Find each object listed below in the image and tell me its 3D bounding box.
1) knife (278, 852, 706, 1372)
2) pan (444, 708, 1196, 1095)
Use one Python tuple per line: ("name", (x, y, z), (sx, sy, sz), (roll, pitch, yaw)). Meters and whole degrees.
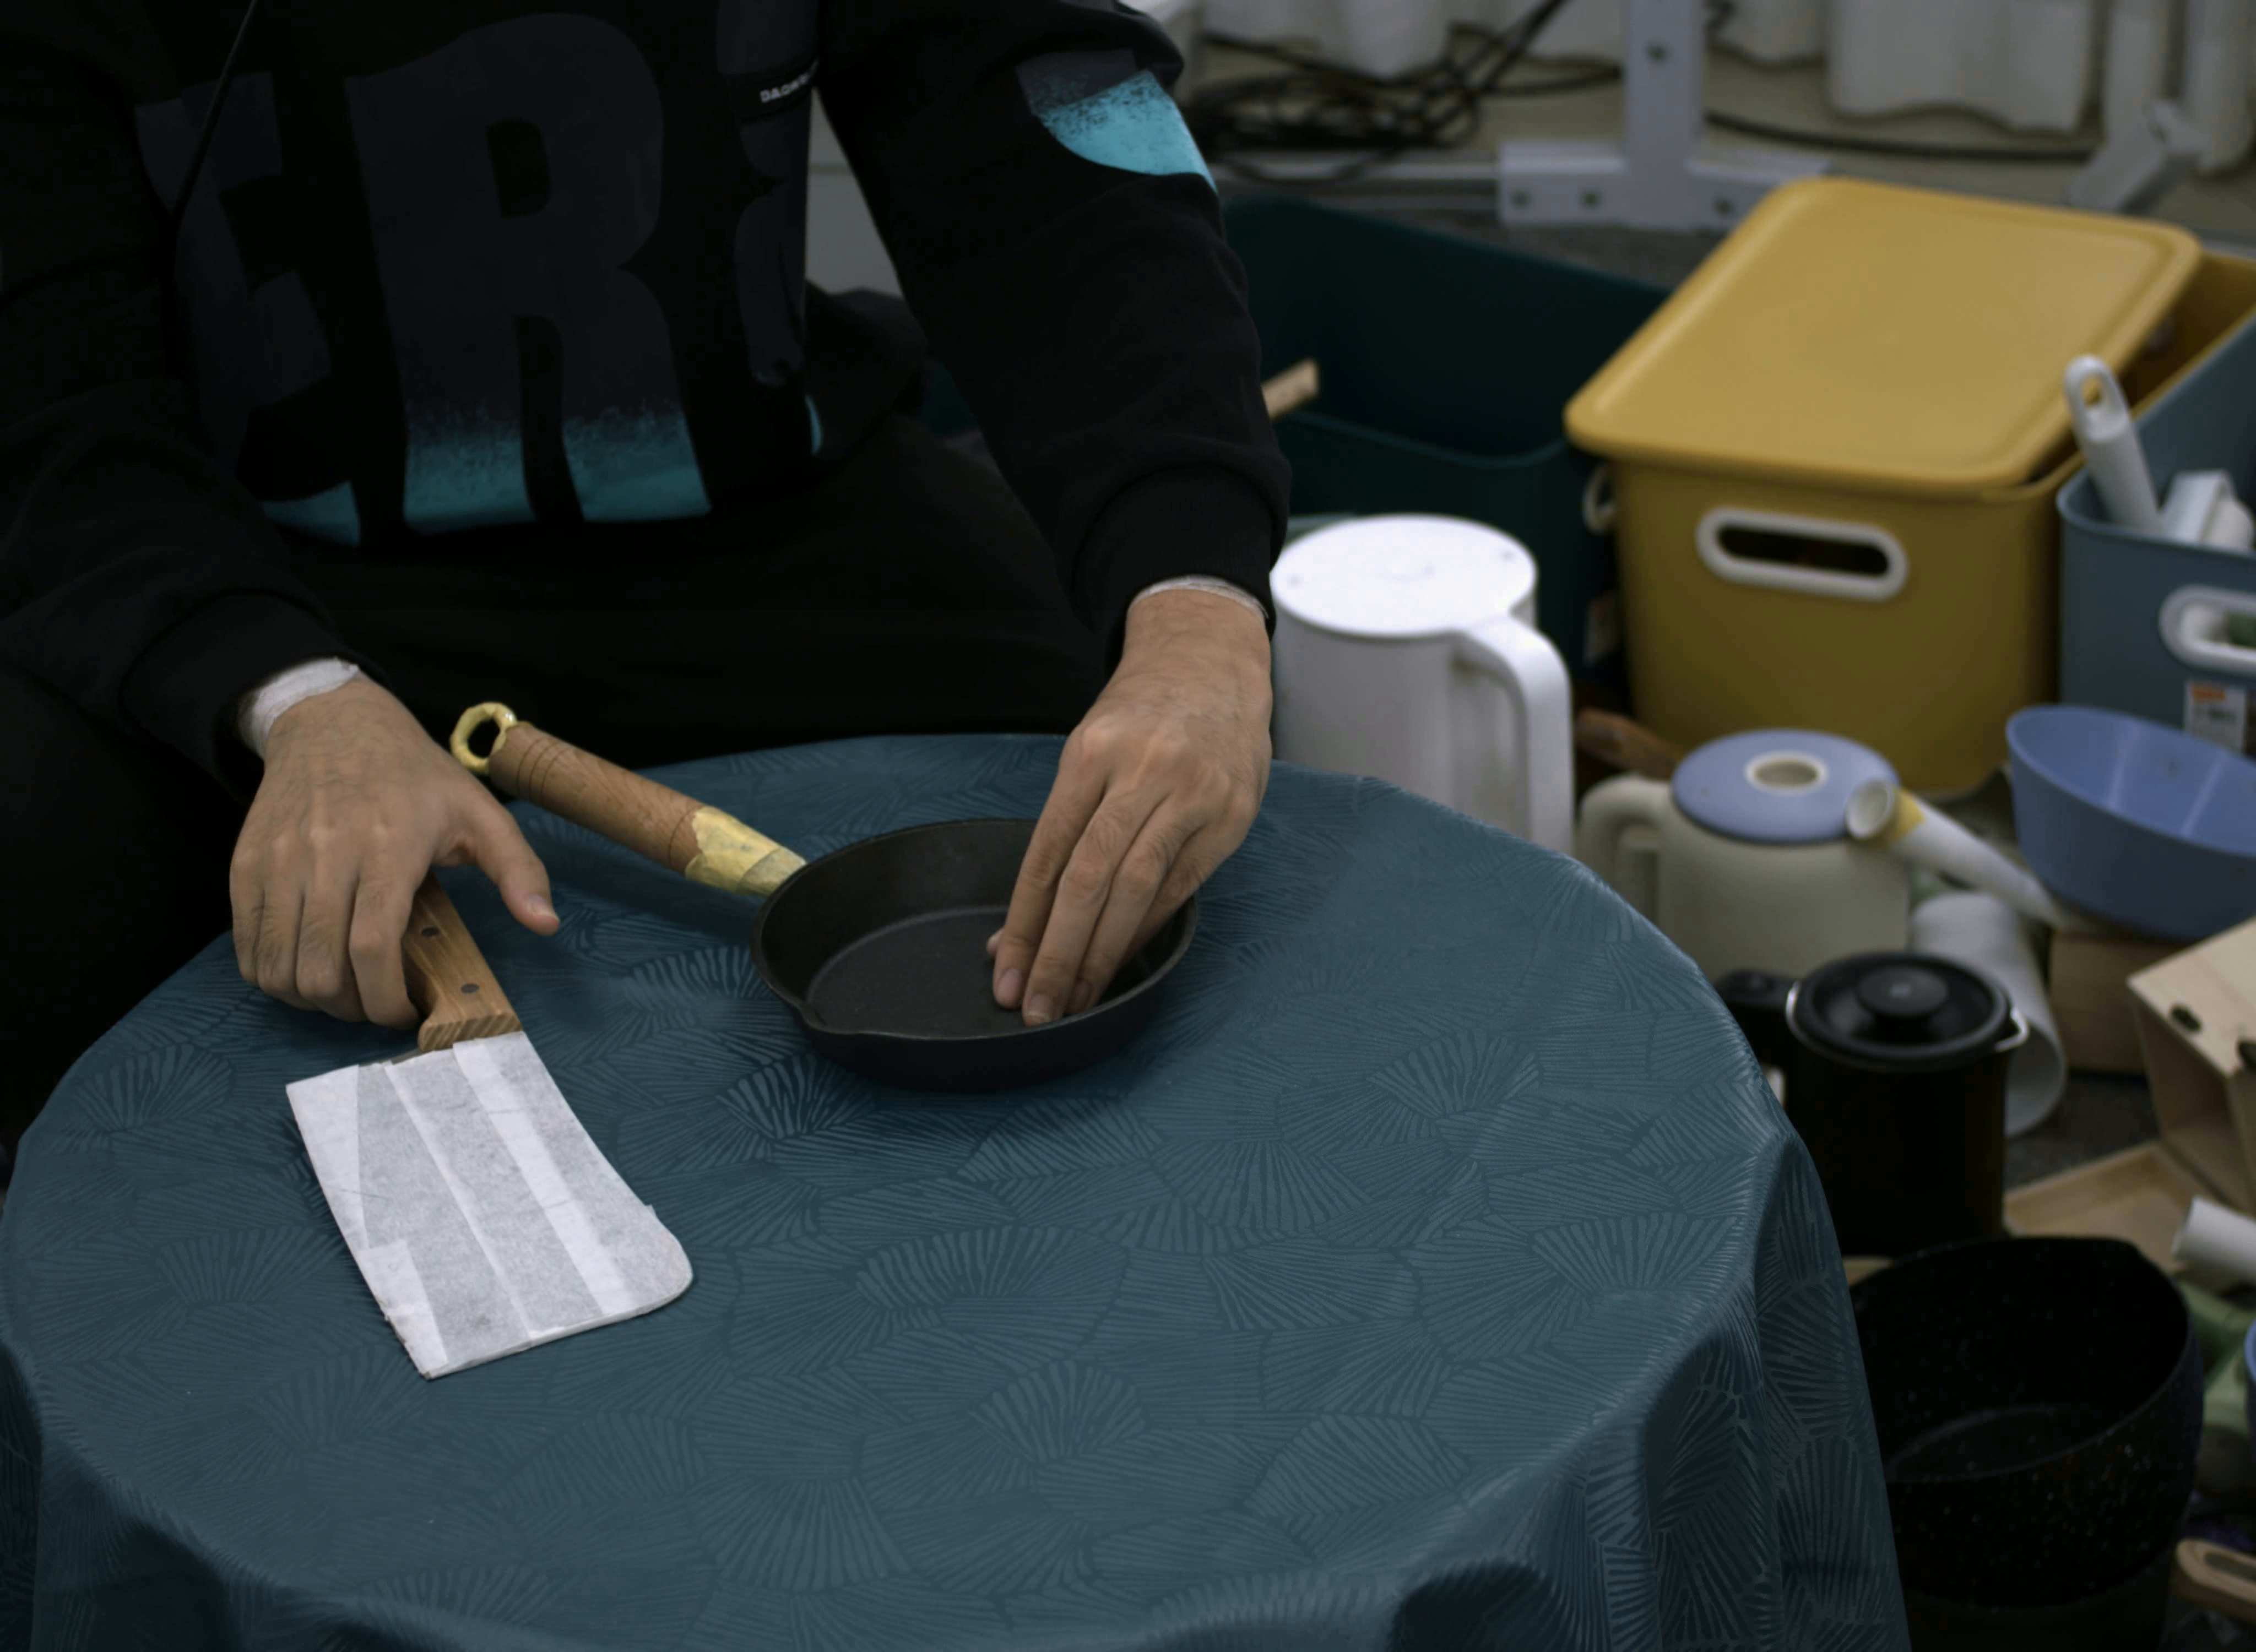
("knife", (-0.231, 0.093, 1.921), (0.114, 0.021, 0.318), (-11, 31, -15))
("pan", (-0.121, 0.020, 2.015), (0.323, 0.049, 0.171), (19, 35, 33))
